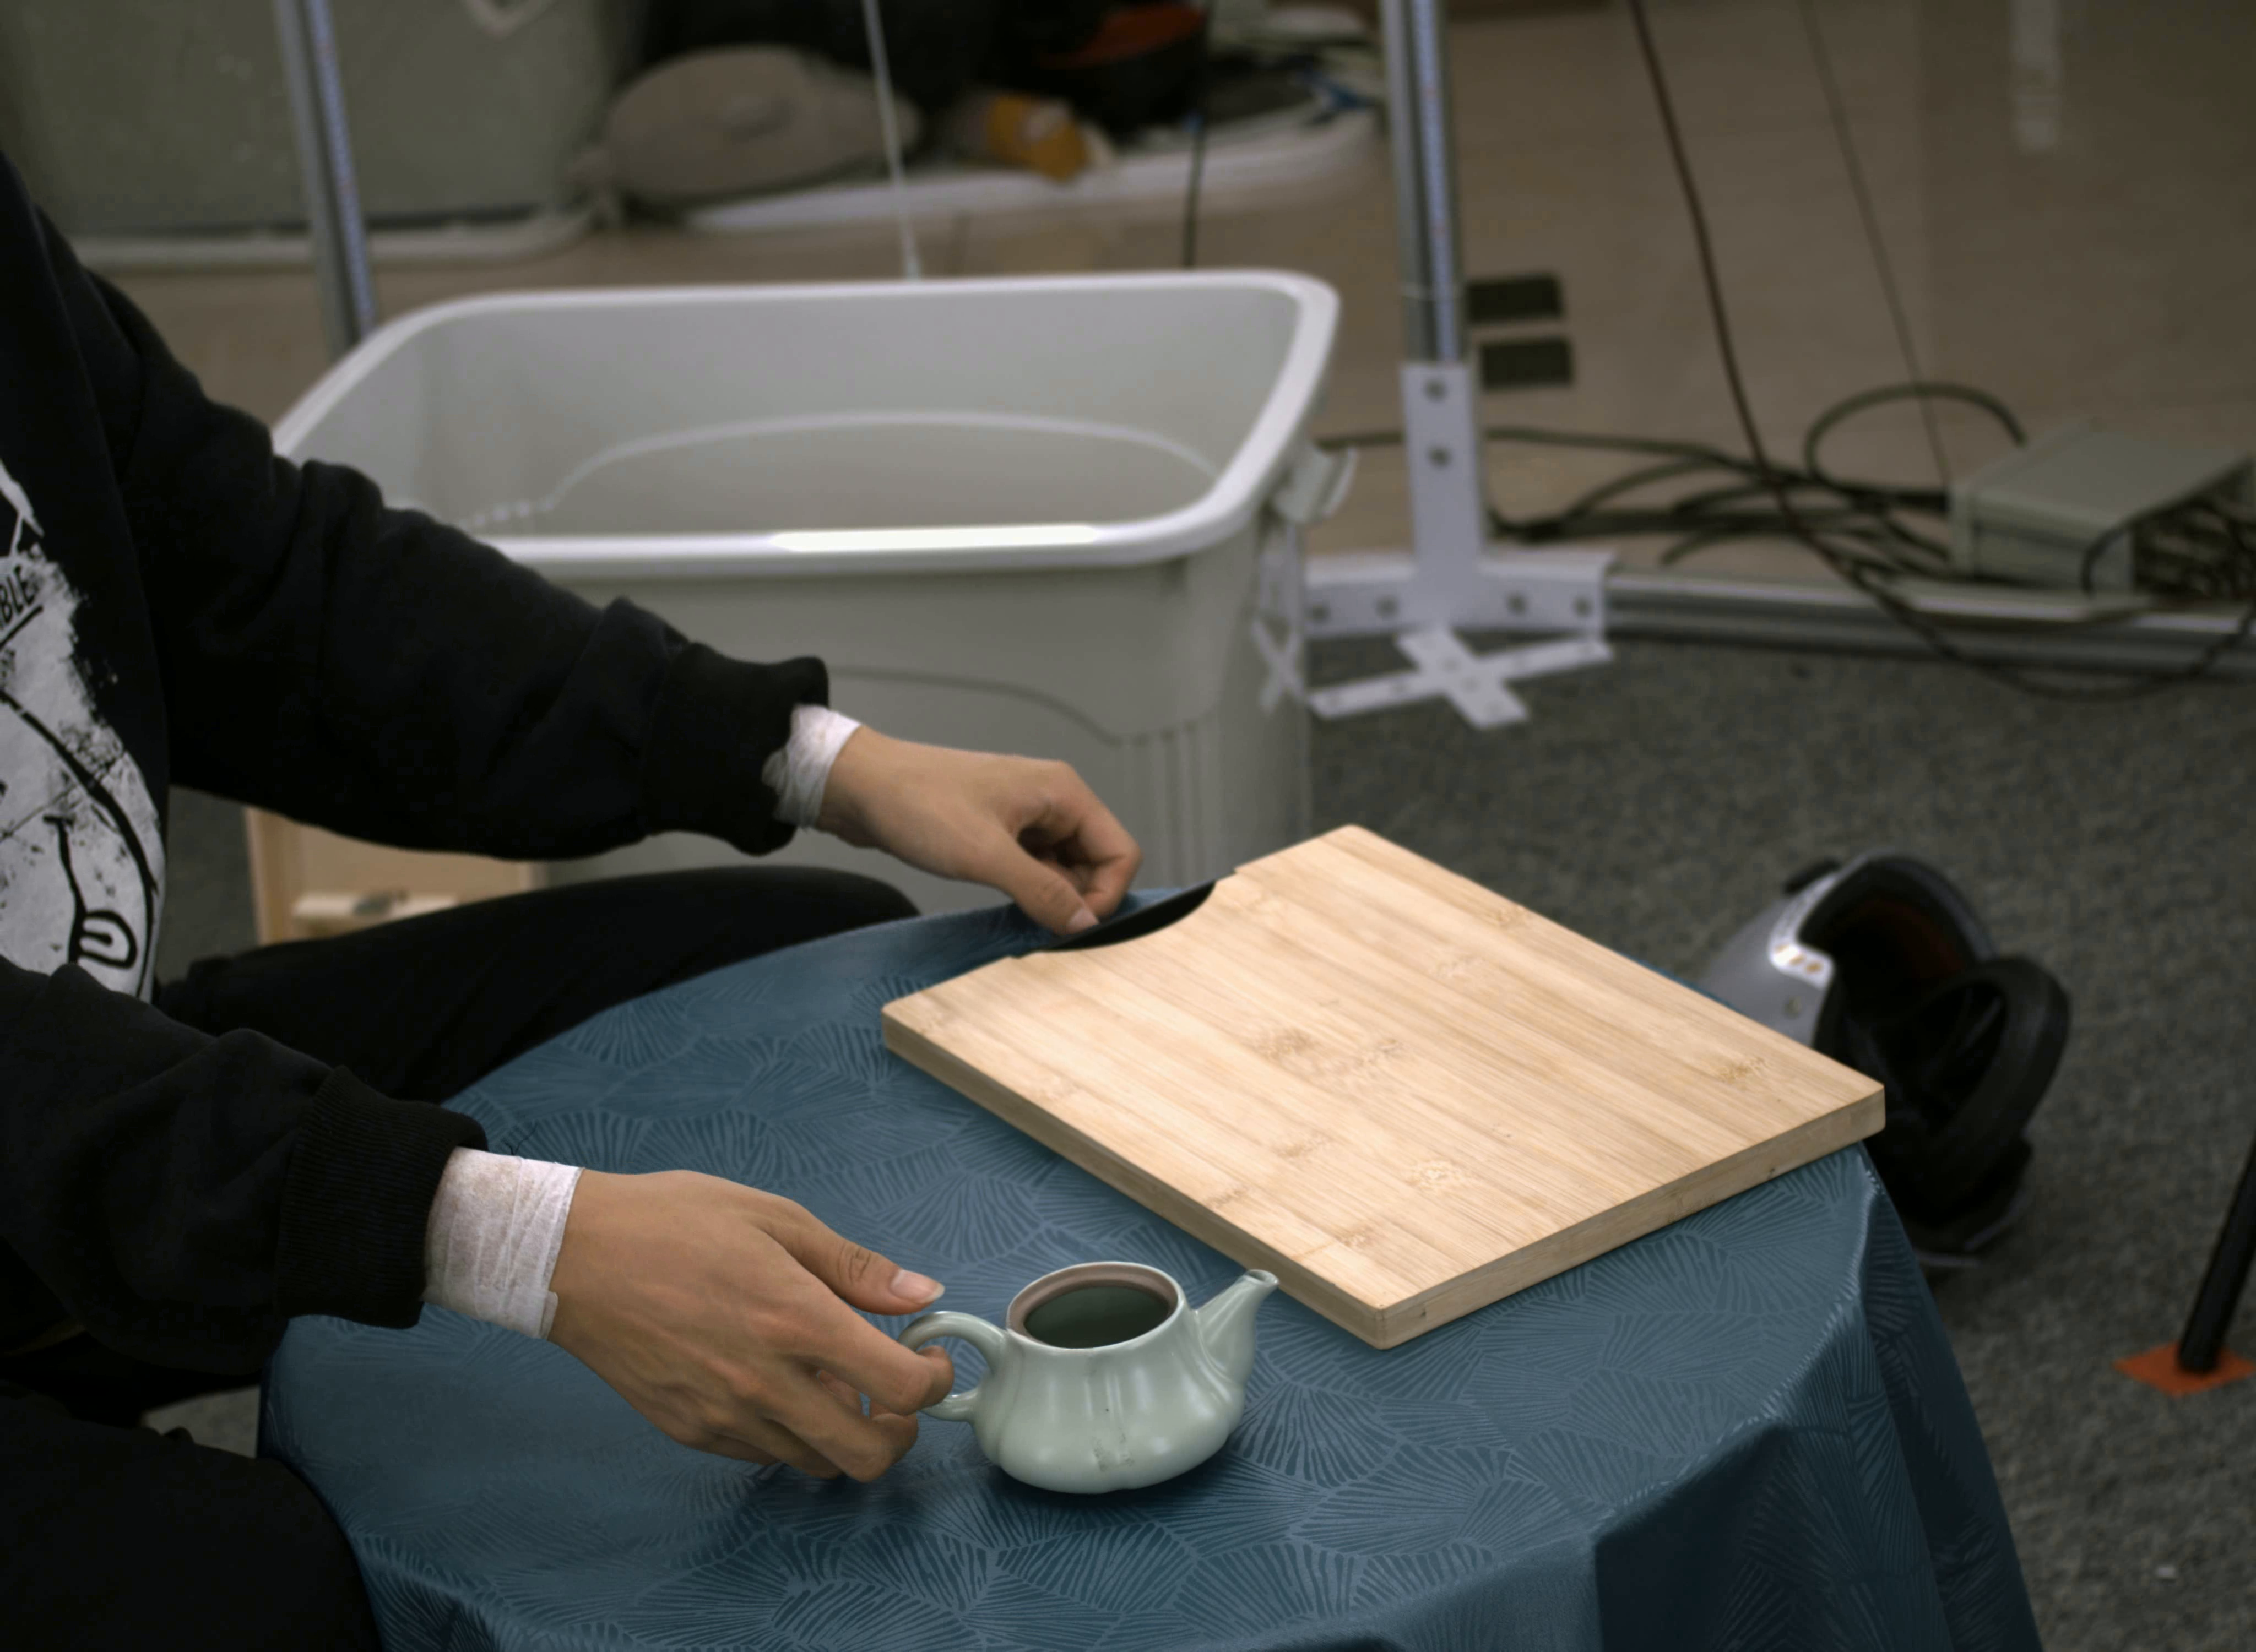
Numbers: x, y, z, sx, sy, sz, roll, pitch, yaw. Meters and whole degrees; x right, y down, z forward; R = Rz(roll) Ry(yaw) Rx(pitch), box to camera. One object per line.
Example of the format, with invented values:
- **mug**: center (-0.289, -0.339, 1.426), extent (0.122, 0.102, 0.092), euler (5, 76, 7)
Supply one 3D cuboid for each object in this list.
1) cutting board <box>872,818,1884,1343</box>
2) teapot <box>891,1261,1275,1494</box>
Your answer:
- **cutting board**: center (0.090, 0.092, 2.209), extent (0.249, 0.024, 0.345), euler (-21, 29, -29)
- **teapot**: center (-0.014, 0.190, 1.971), extent (0.136, 0.062, 0.095), euler (-8, 27, -5)
